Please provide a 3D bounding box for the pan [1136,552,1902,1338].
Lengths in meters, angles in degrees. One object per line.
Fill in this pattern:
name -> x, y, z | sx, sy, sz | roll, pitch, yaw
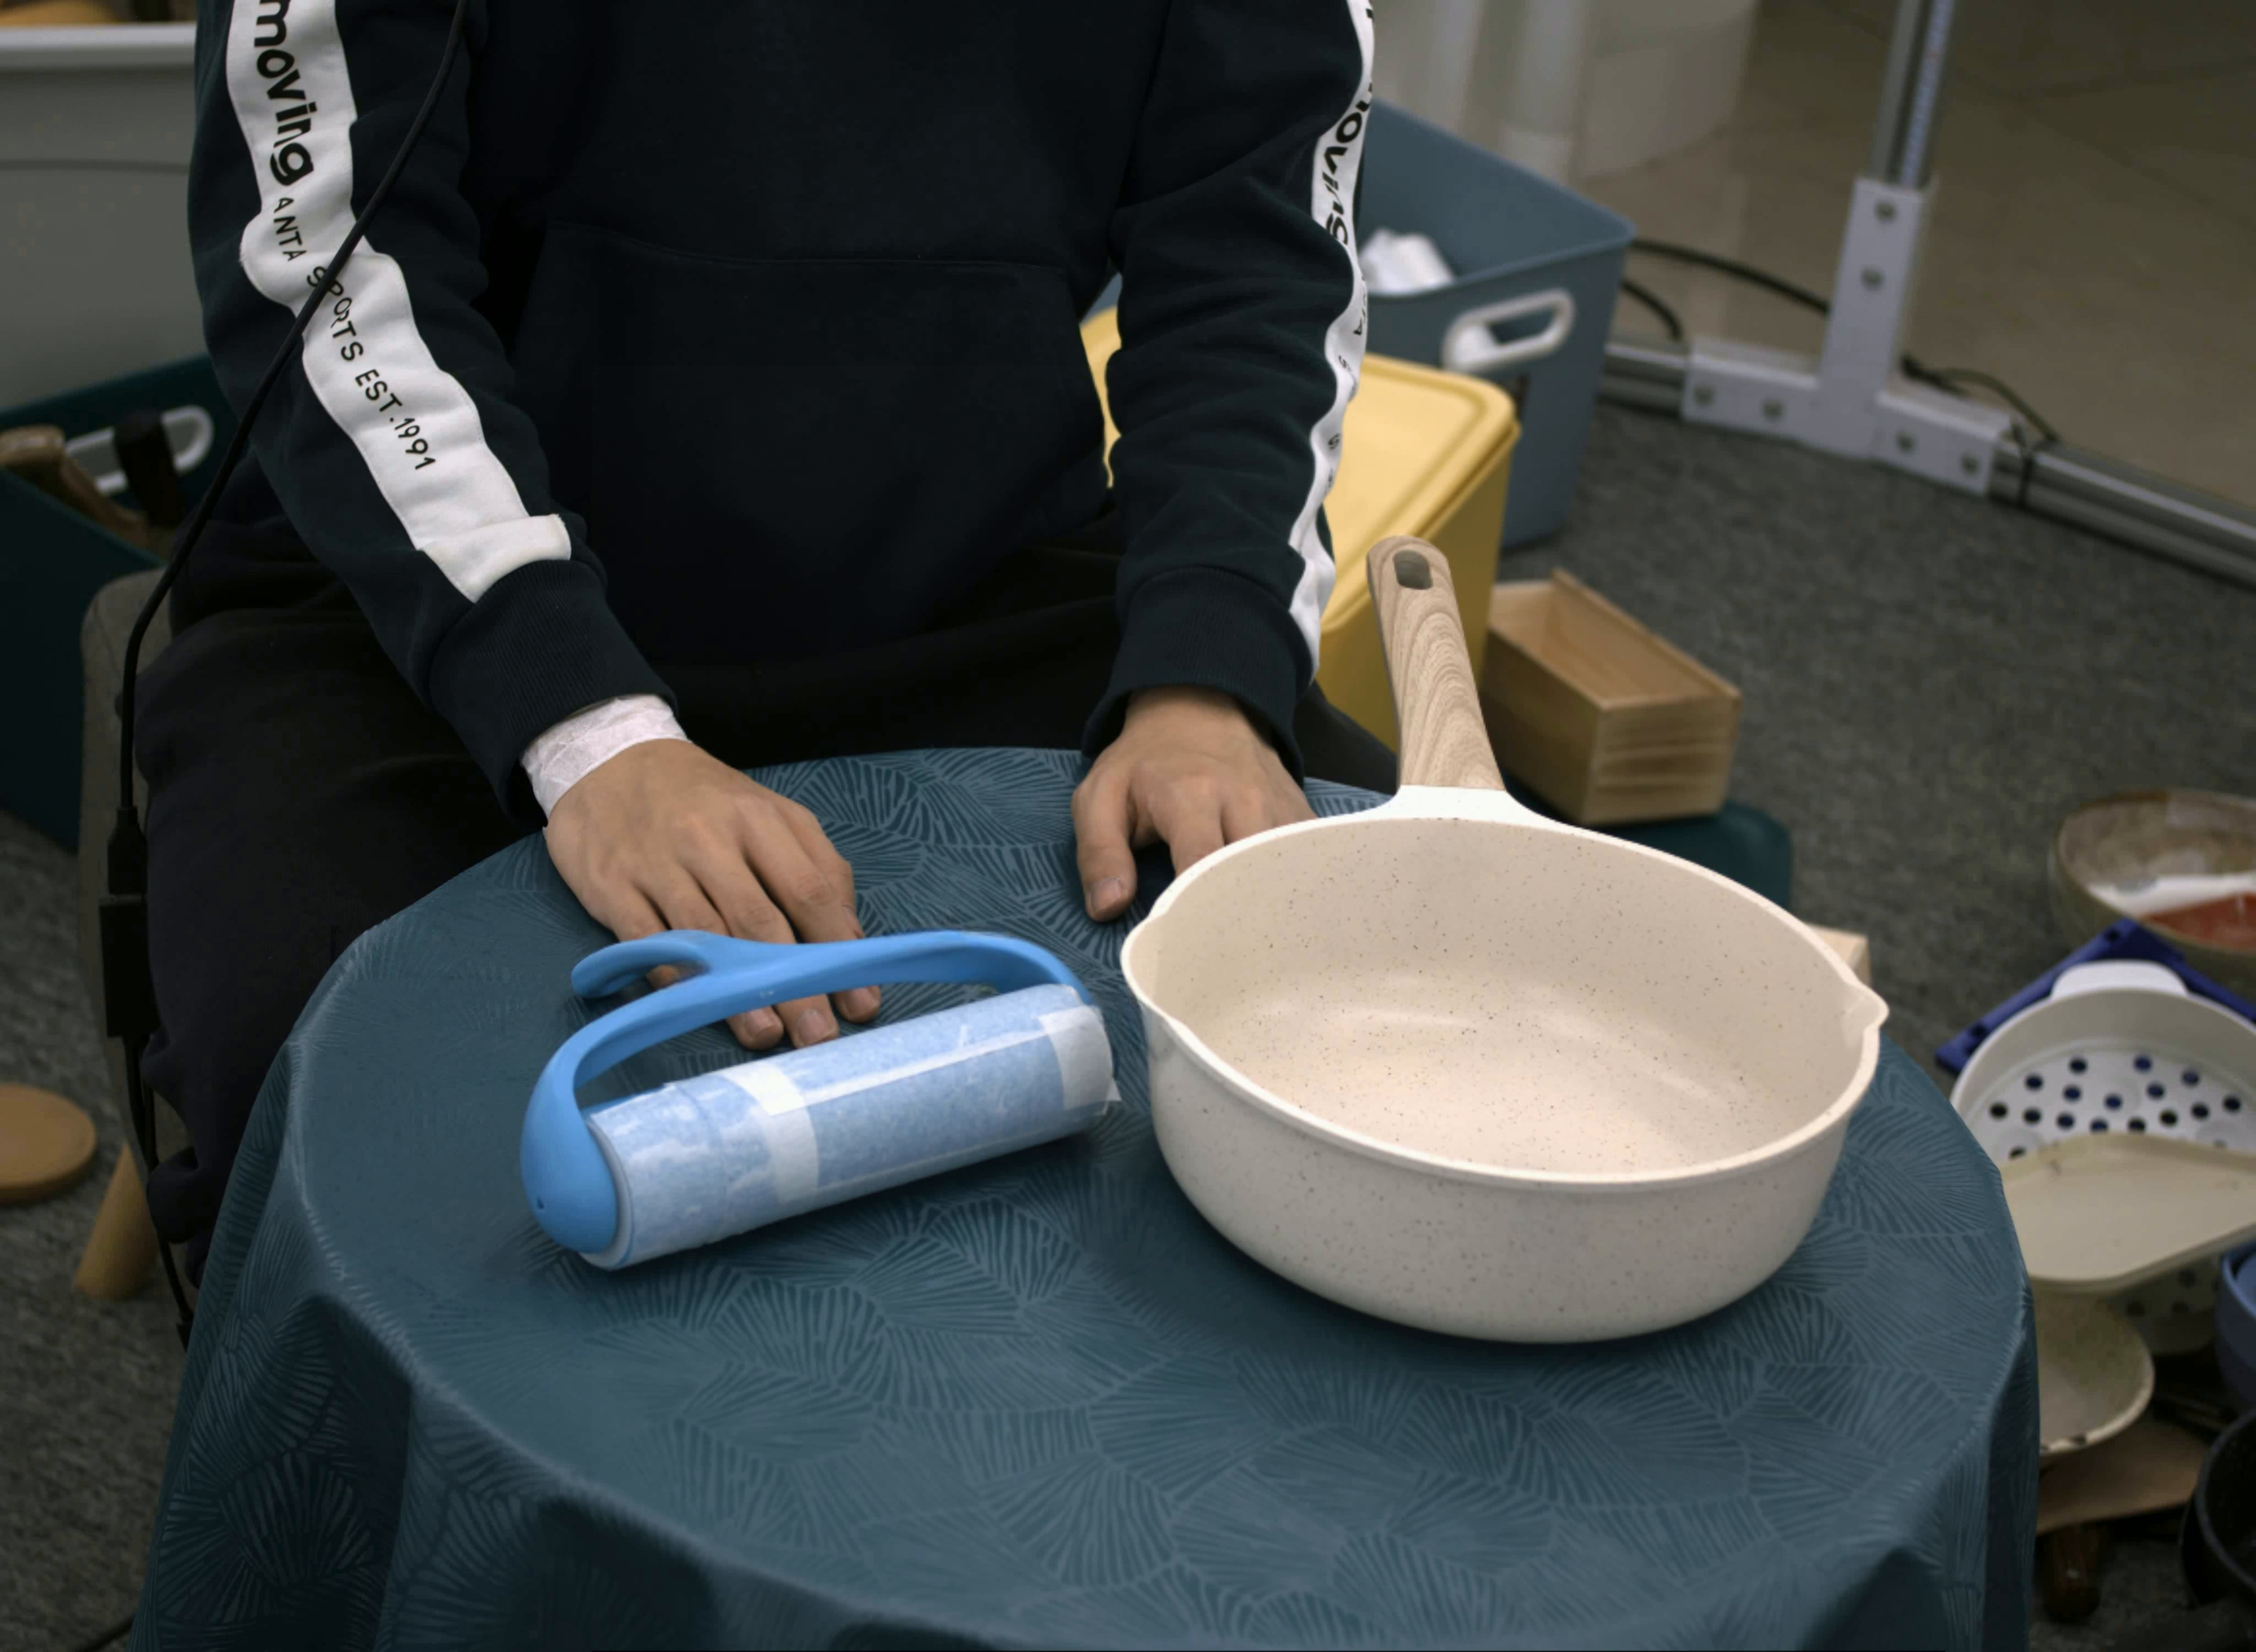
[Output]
pan -> 0.121, 0.039, 1.882 | 0.262, 0.101, 0.438 | 2, 27, -7

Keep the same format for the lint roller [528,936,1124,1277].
lint roller -> -0.133, 0.073, 1.805 | 0.227, 0.067, 0.182 | -17, 36, -36
